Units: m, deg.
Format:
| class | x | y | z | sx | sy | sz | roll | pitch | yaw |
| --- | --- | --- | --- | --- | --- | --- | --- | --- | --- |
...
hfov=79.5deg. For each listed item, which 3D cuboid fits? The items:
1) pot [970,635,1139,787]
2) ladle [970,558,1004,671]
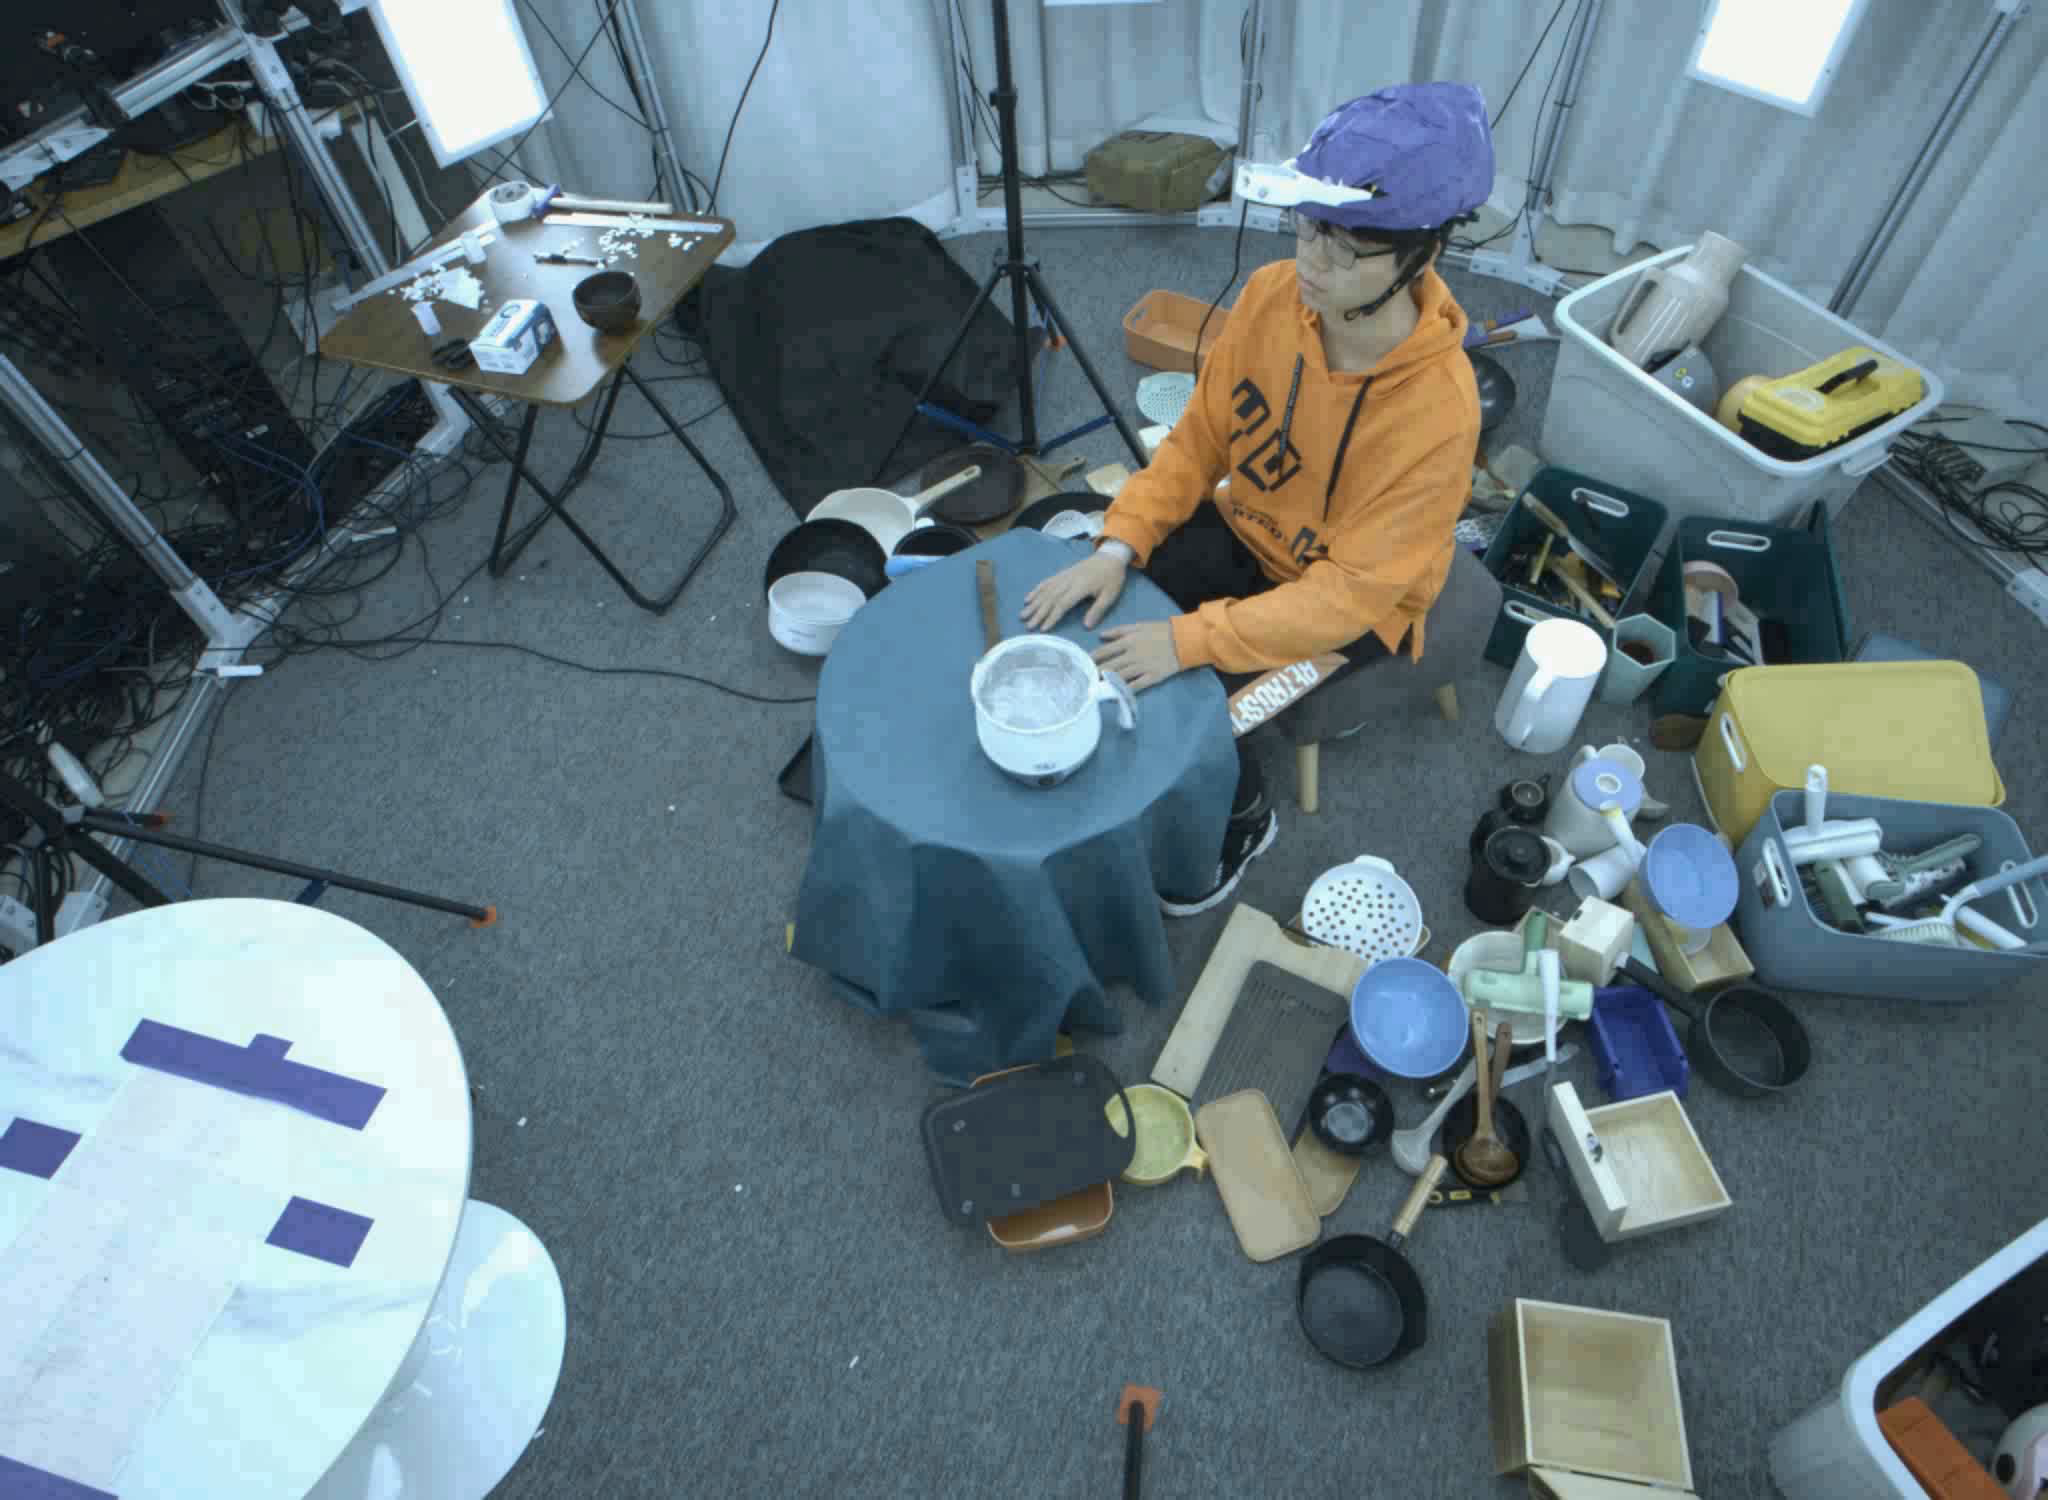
| class | x | y | z | sx | sy | sz | roll | pitch | yaw |
| --- | --- | --- | --- | --- | --- | --- | --- | --- | --- |
| pot | 0.046 | -0.059 | 1.742 | 0.234 | 0.138 | 0.176 | -8 | 55 | -3 |
| ladle | -0.054 | -0.222 | 1.903 | 0.076 | 0.072 | 0.270 | -4 | 55 | -5 |
